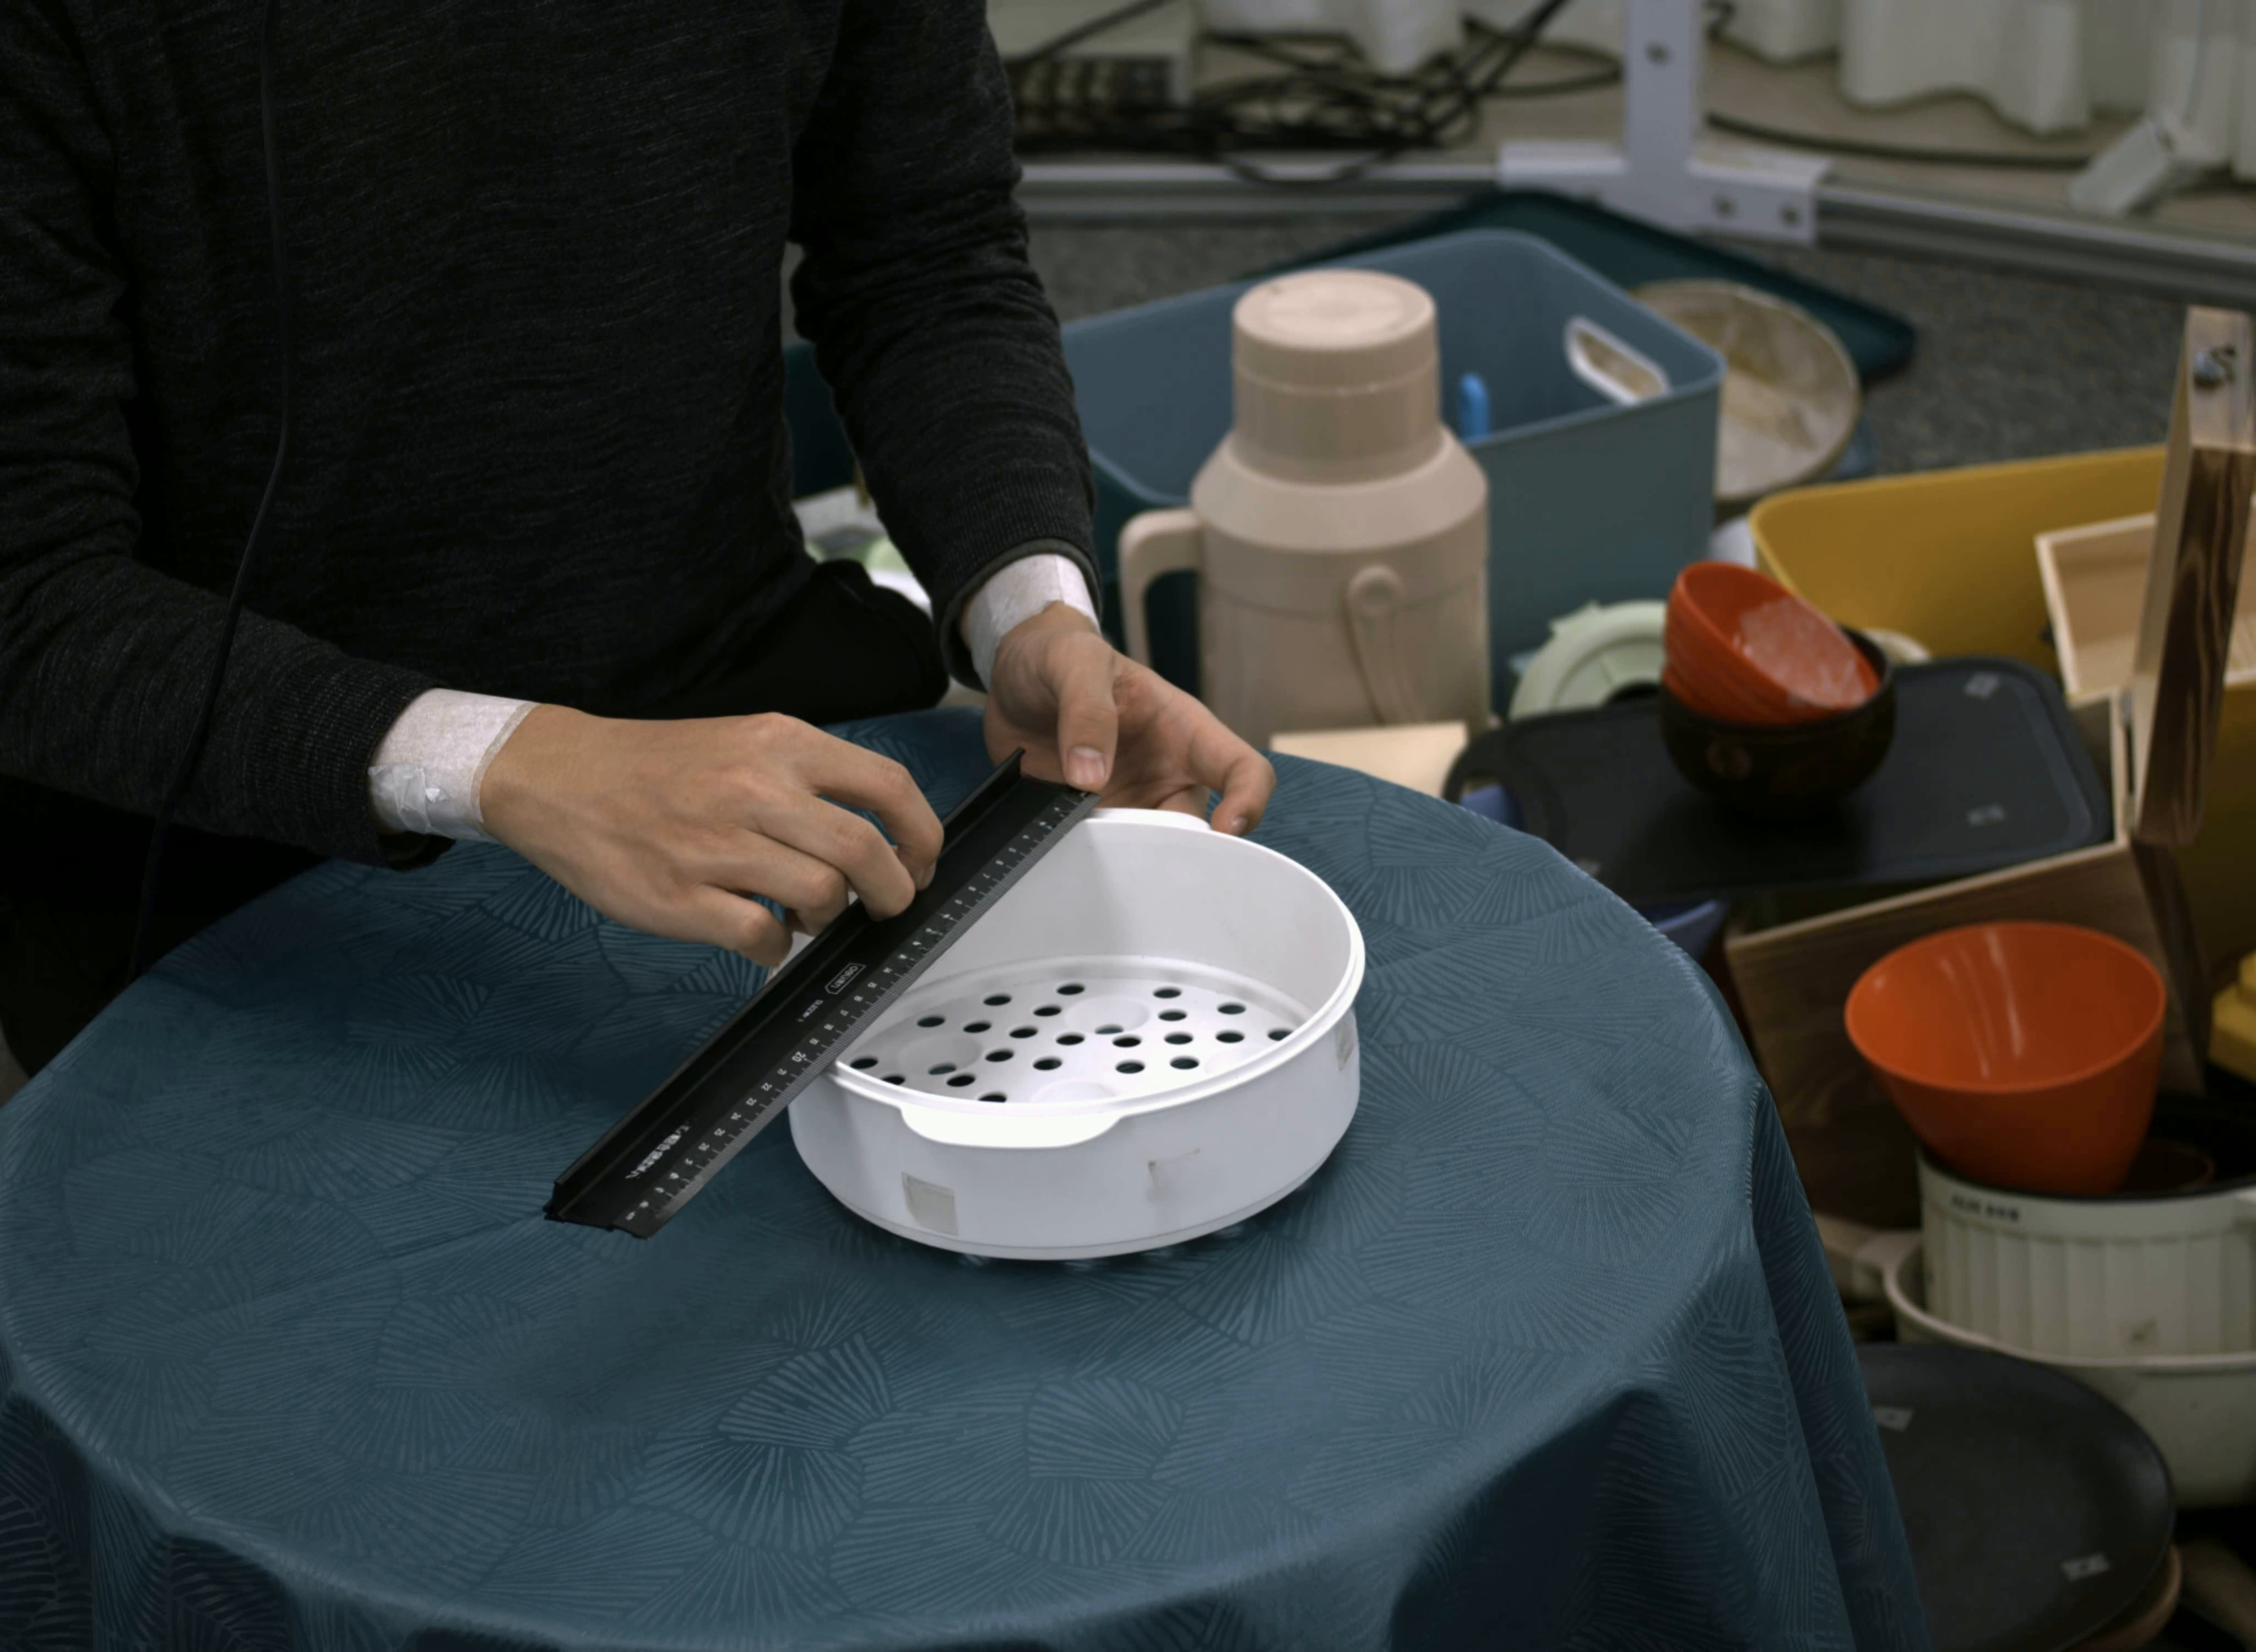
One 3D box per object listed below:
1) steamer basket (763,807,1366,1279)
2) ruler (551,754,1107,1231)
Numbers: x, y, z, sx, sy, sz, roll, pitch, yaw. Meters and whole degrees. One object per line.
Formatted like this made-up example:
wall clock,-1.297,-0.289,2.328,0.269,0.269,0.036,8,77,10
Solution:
steamer basket,-0.020,0.074,1.880,0.200,0.068,0.234,2,29,10
ruler,-0.093,0.050,1.849,0.039,0.017,0.318,10,30,25
